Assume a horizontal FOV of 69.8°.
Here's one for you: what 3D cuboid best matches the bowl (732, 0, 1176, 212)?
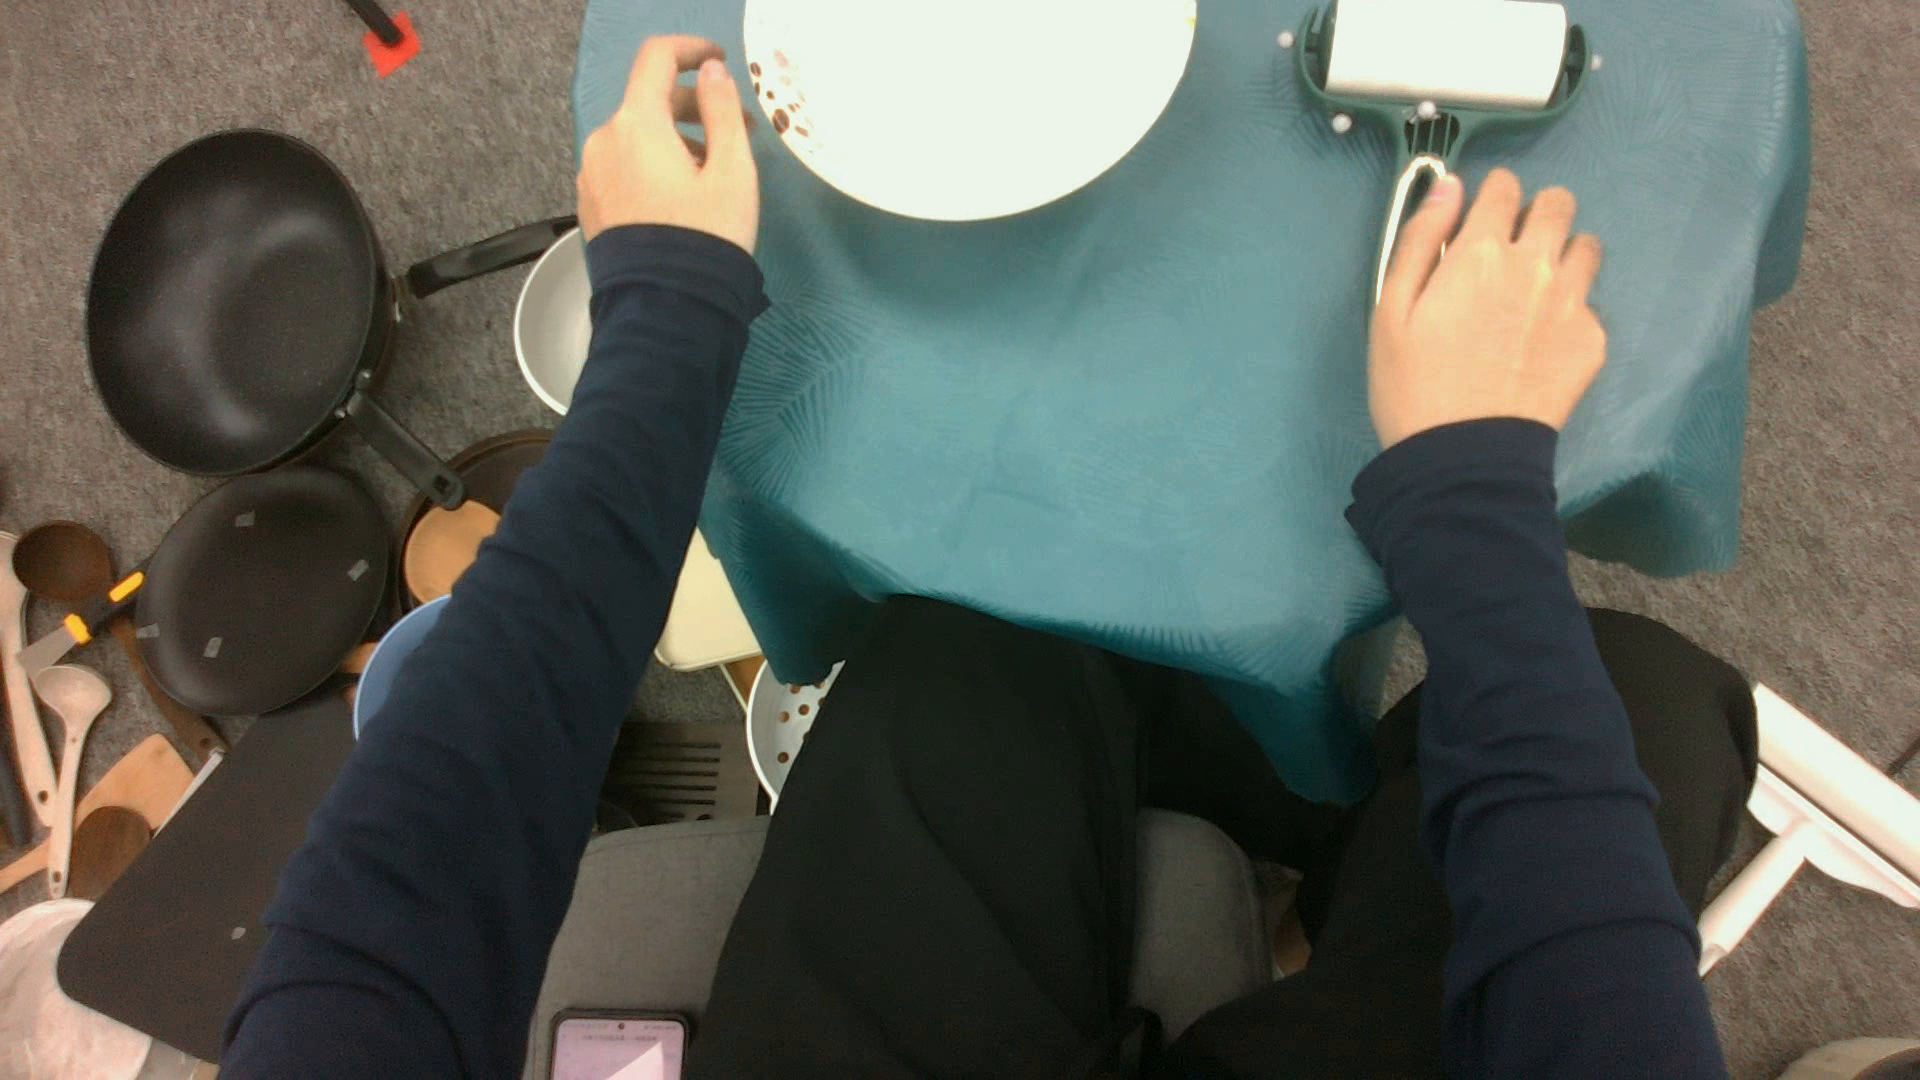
[{"bbox_3d":[0.000,-0.237,0.656,0.204,0.078,0.204,-1,79,7],"label":"bowl"}]

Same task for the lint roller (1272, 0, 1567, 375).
[{"bbox_3d":[0.205,-0.169,0.638,0.134,0.048,0.180,7,81,7],"label":"lint roller"}]
